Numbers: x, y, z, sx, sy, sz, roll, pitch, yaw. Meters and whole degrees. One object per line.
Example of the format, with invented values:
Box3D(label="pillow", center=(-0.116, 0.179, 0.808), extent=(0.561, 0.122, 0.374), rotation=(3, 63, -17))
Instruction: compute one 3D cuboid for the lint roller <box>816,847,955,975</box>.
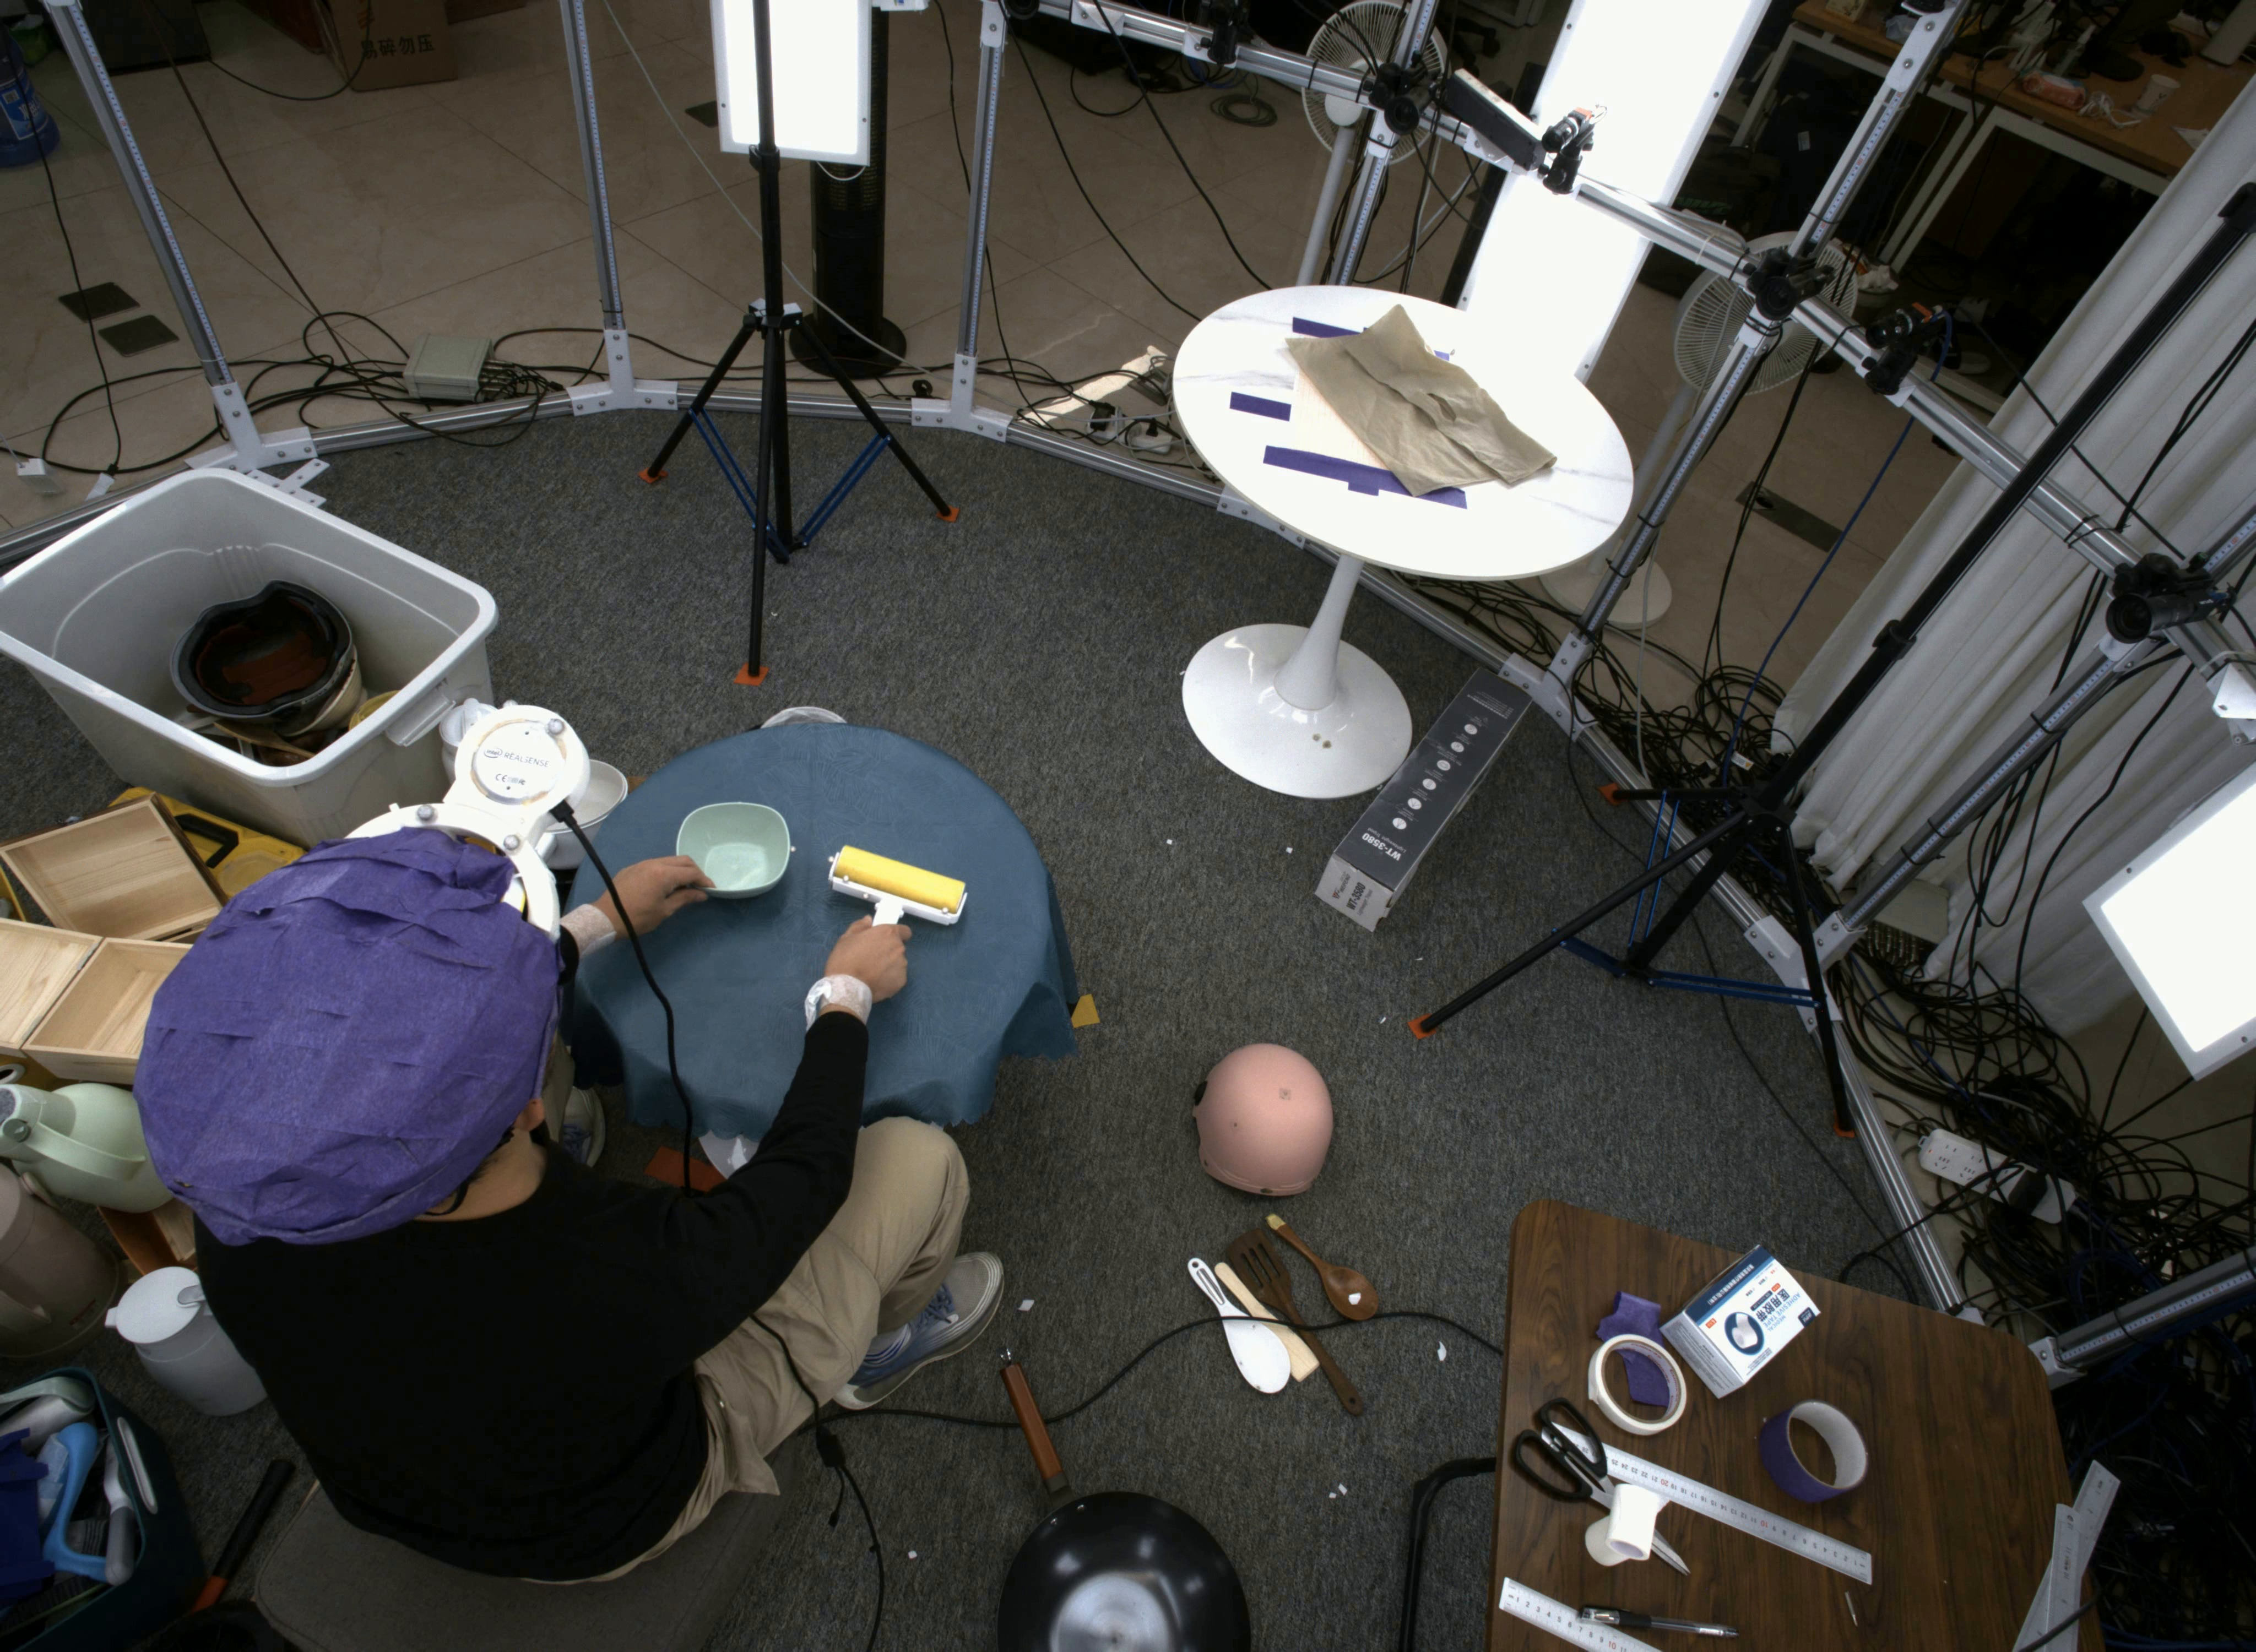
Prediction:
Box3D(label="lint roller", center=(-0.308, 0.106, 1.599), extent=(0.175, 0.052, 0.188), rotation=(16, 28, -10))

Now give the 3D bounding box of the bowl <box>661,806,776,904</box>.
Box3D(label="bowl", center=(-0.513, 0.044, 1.625), extent=(0.151, 0.060, 0.148), rotation=(8, 50, -9))
